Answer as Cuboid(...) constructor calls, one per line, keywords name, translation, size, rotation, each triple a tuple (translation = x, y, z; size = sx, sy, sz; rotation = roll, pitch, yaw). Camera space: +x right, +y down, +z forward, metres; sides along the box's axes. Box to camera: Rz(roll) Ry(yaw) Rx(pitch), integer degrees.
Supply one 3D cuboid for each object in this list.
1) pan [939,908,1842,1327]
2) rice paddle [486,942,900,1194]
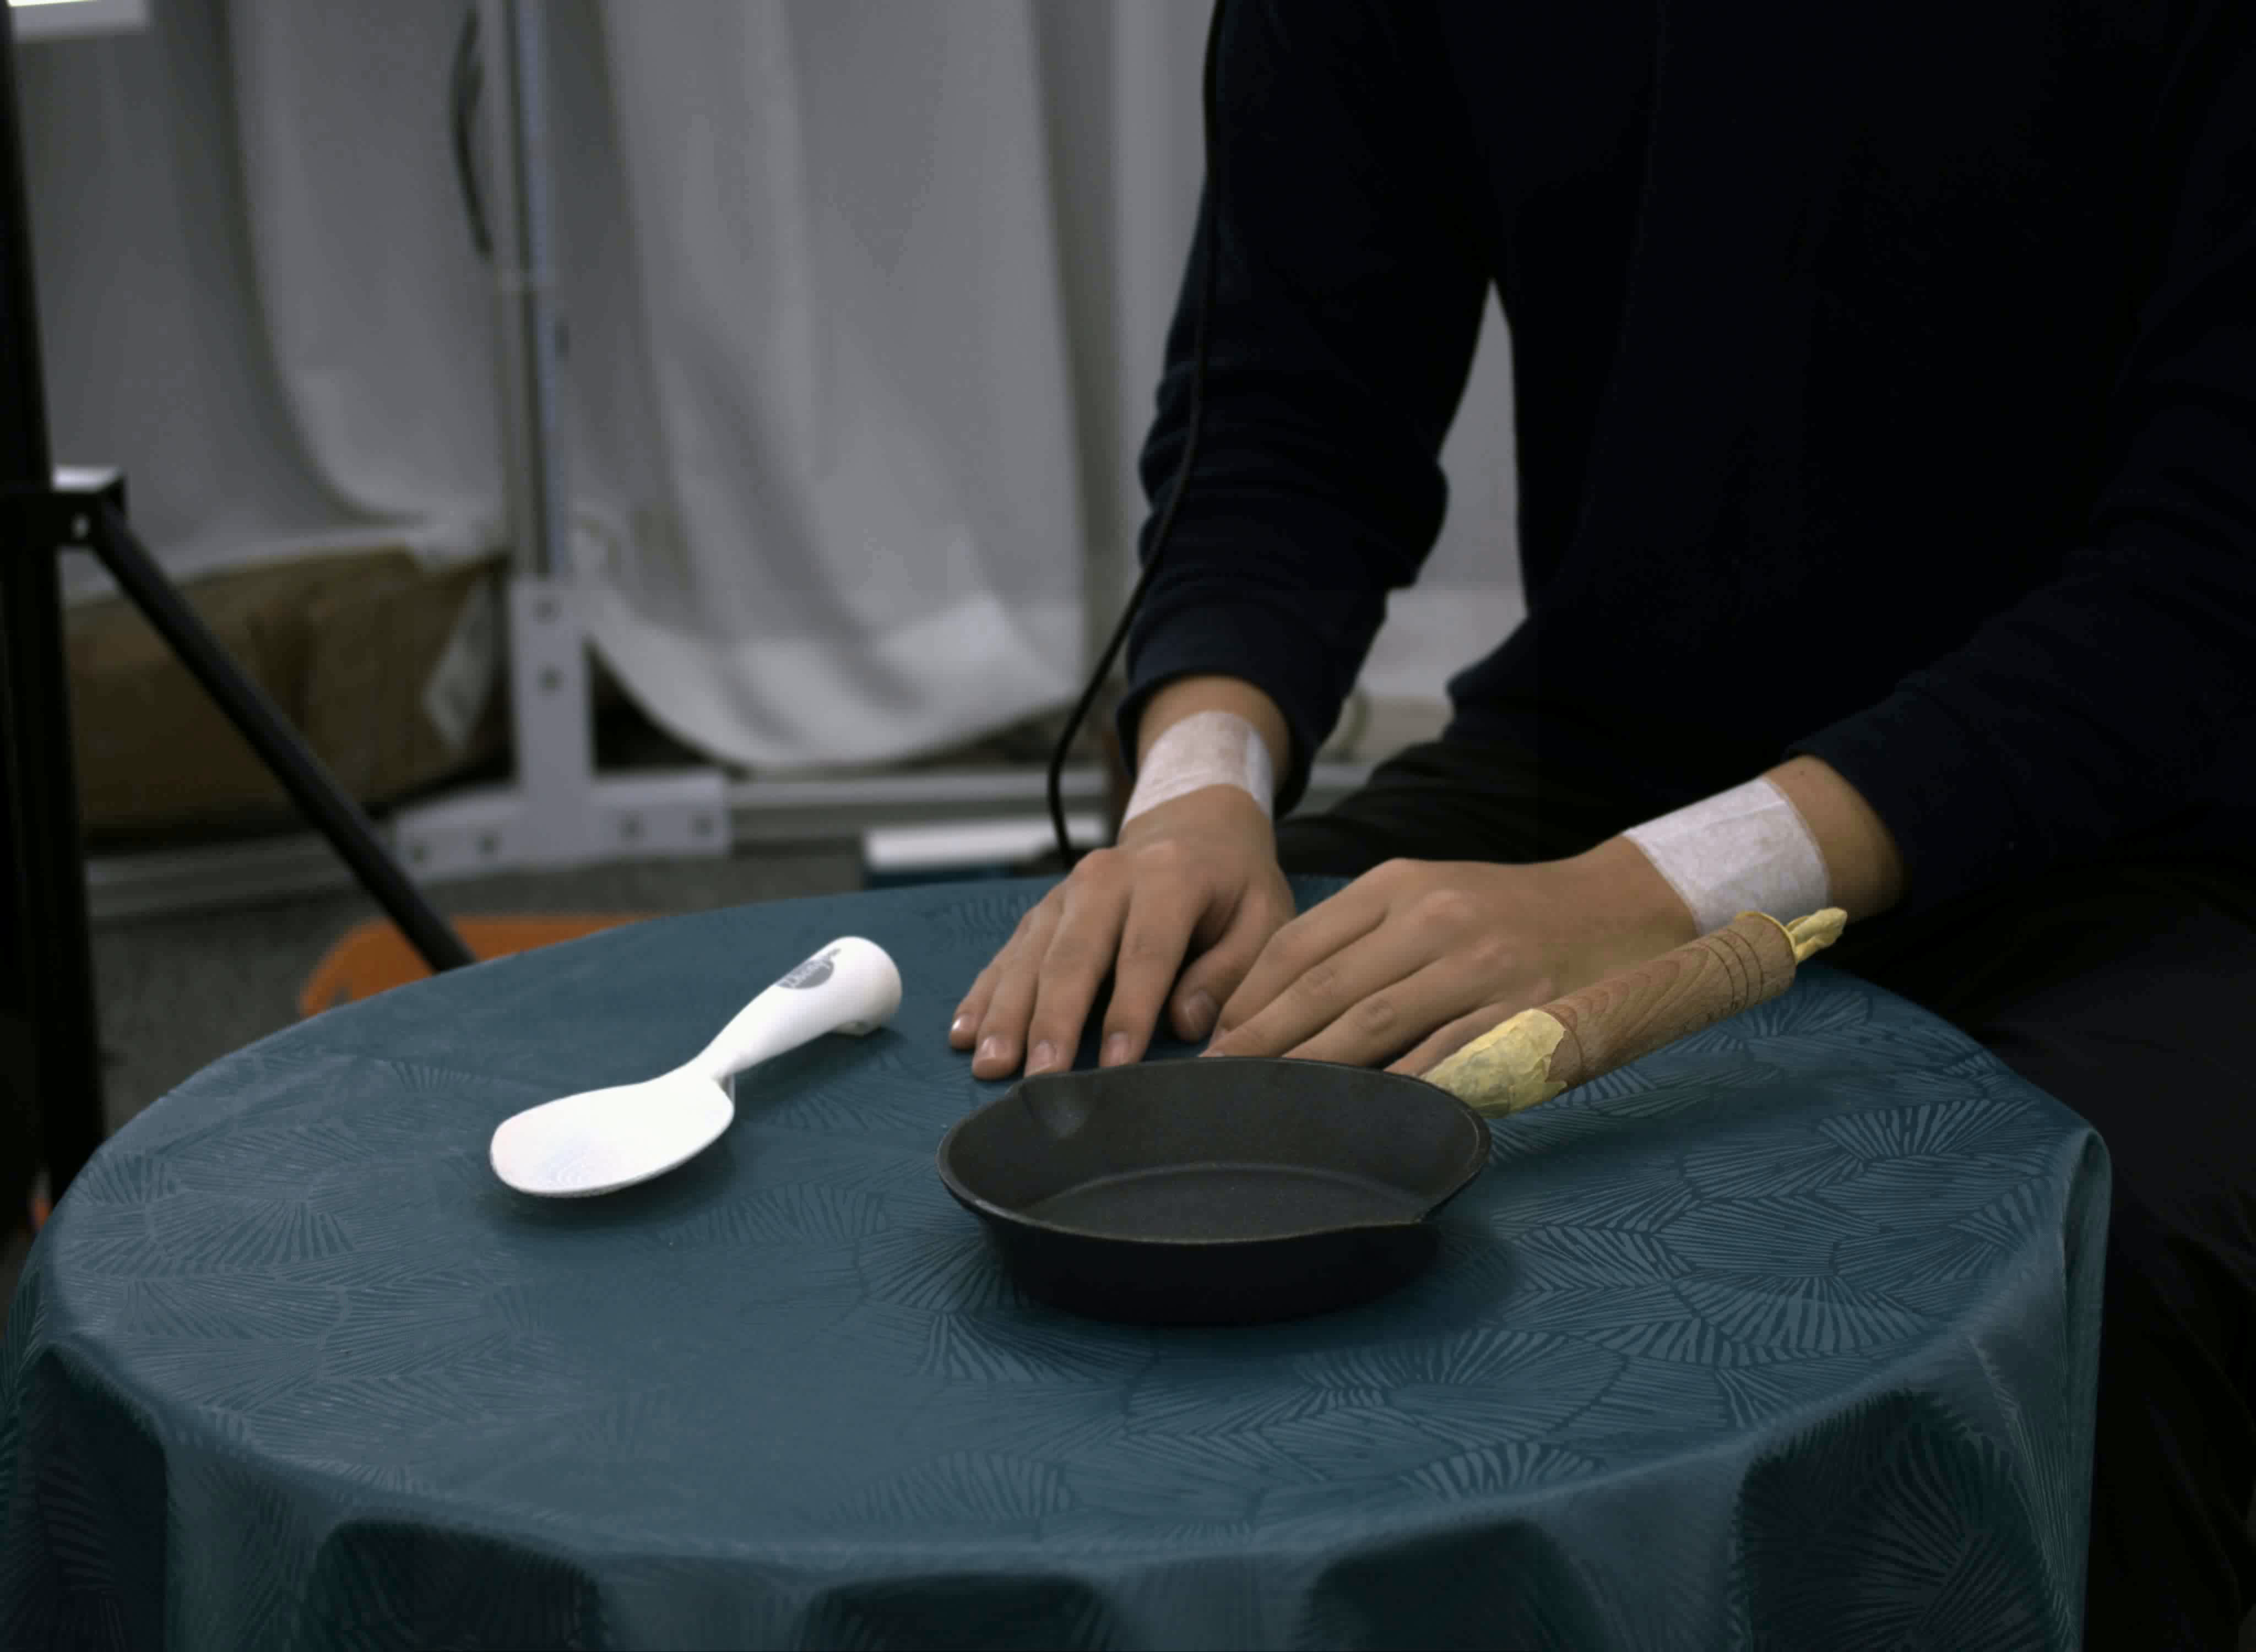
Cuboid(name="pan", translation=(0.092, 0.081, 1.546), size=(0.317, 0.049, 0.173), rotation=(-15, 20, -33))
Cuboid(name="rice paddle", translation=(-0.129, 0.077, 1.637), size=(0.070, 0.029, 0.202), rotation=(3, 16, 26))
